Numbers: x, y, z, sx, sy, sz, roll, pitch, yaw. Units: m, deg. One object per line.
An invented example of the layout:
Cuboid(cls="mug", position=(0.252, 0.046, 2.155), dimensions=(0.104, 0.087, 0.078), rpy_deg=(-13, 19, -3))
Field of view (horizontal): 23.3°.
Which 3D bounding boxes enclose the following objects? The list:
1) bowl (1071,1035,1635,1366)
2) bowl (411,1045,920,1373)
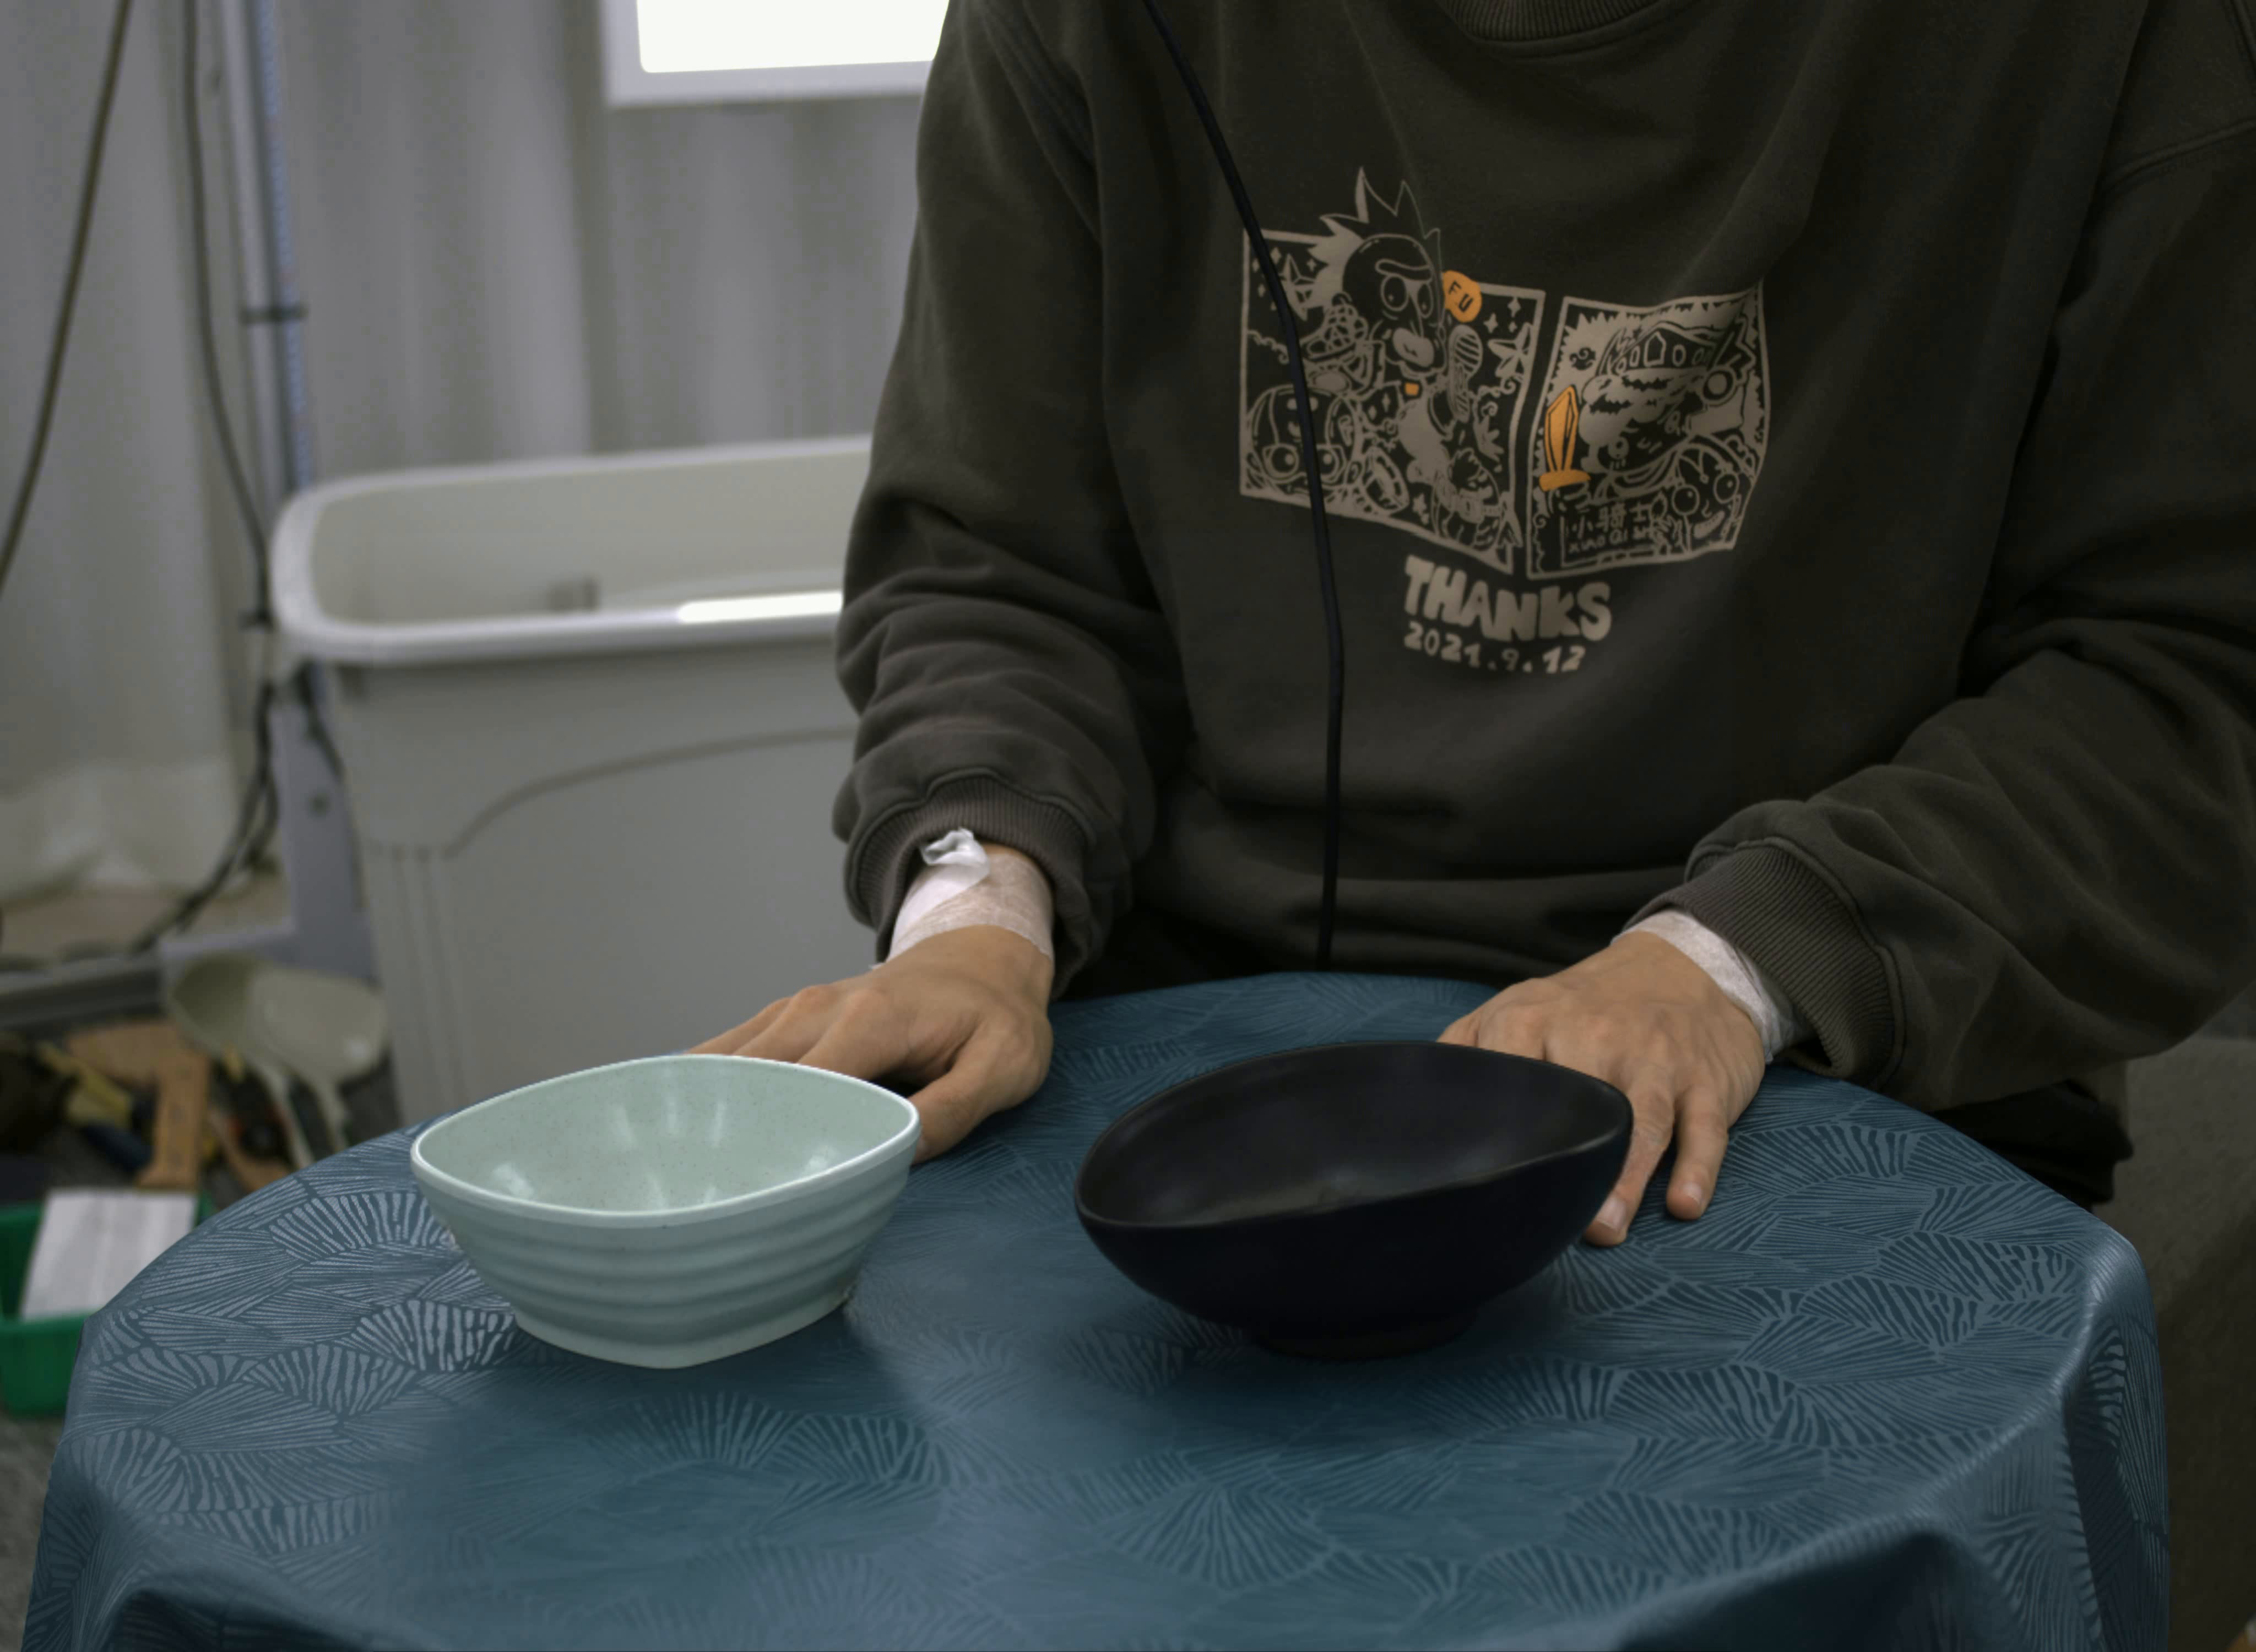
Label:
Cuboid(cls="bowl", position=(0.068, 0.115, 1.587), dimensions=(0.169, 0.066, 0.138), rpy_deg=(-11, 17, -24))
Cuboid(cls="bowl", position=(-0.136, 0.117, 1.628), dimensions=(0.151, 0.058, 0.152), rpy_deg=(-2, 17, 0))
